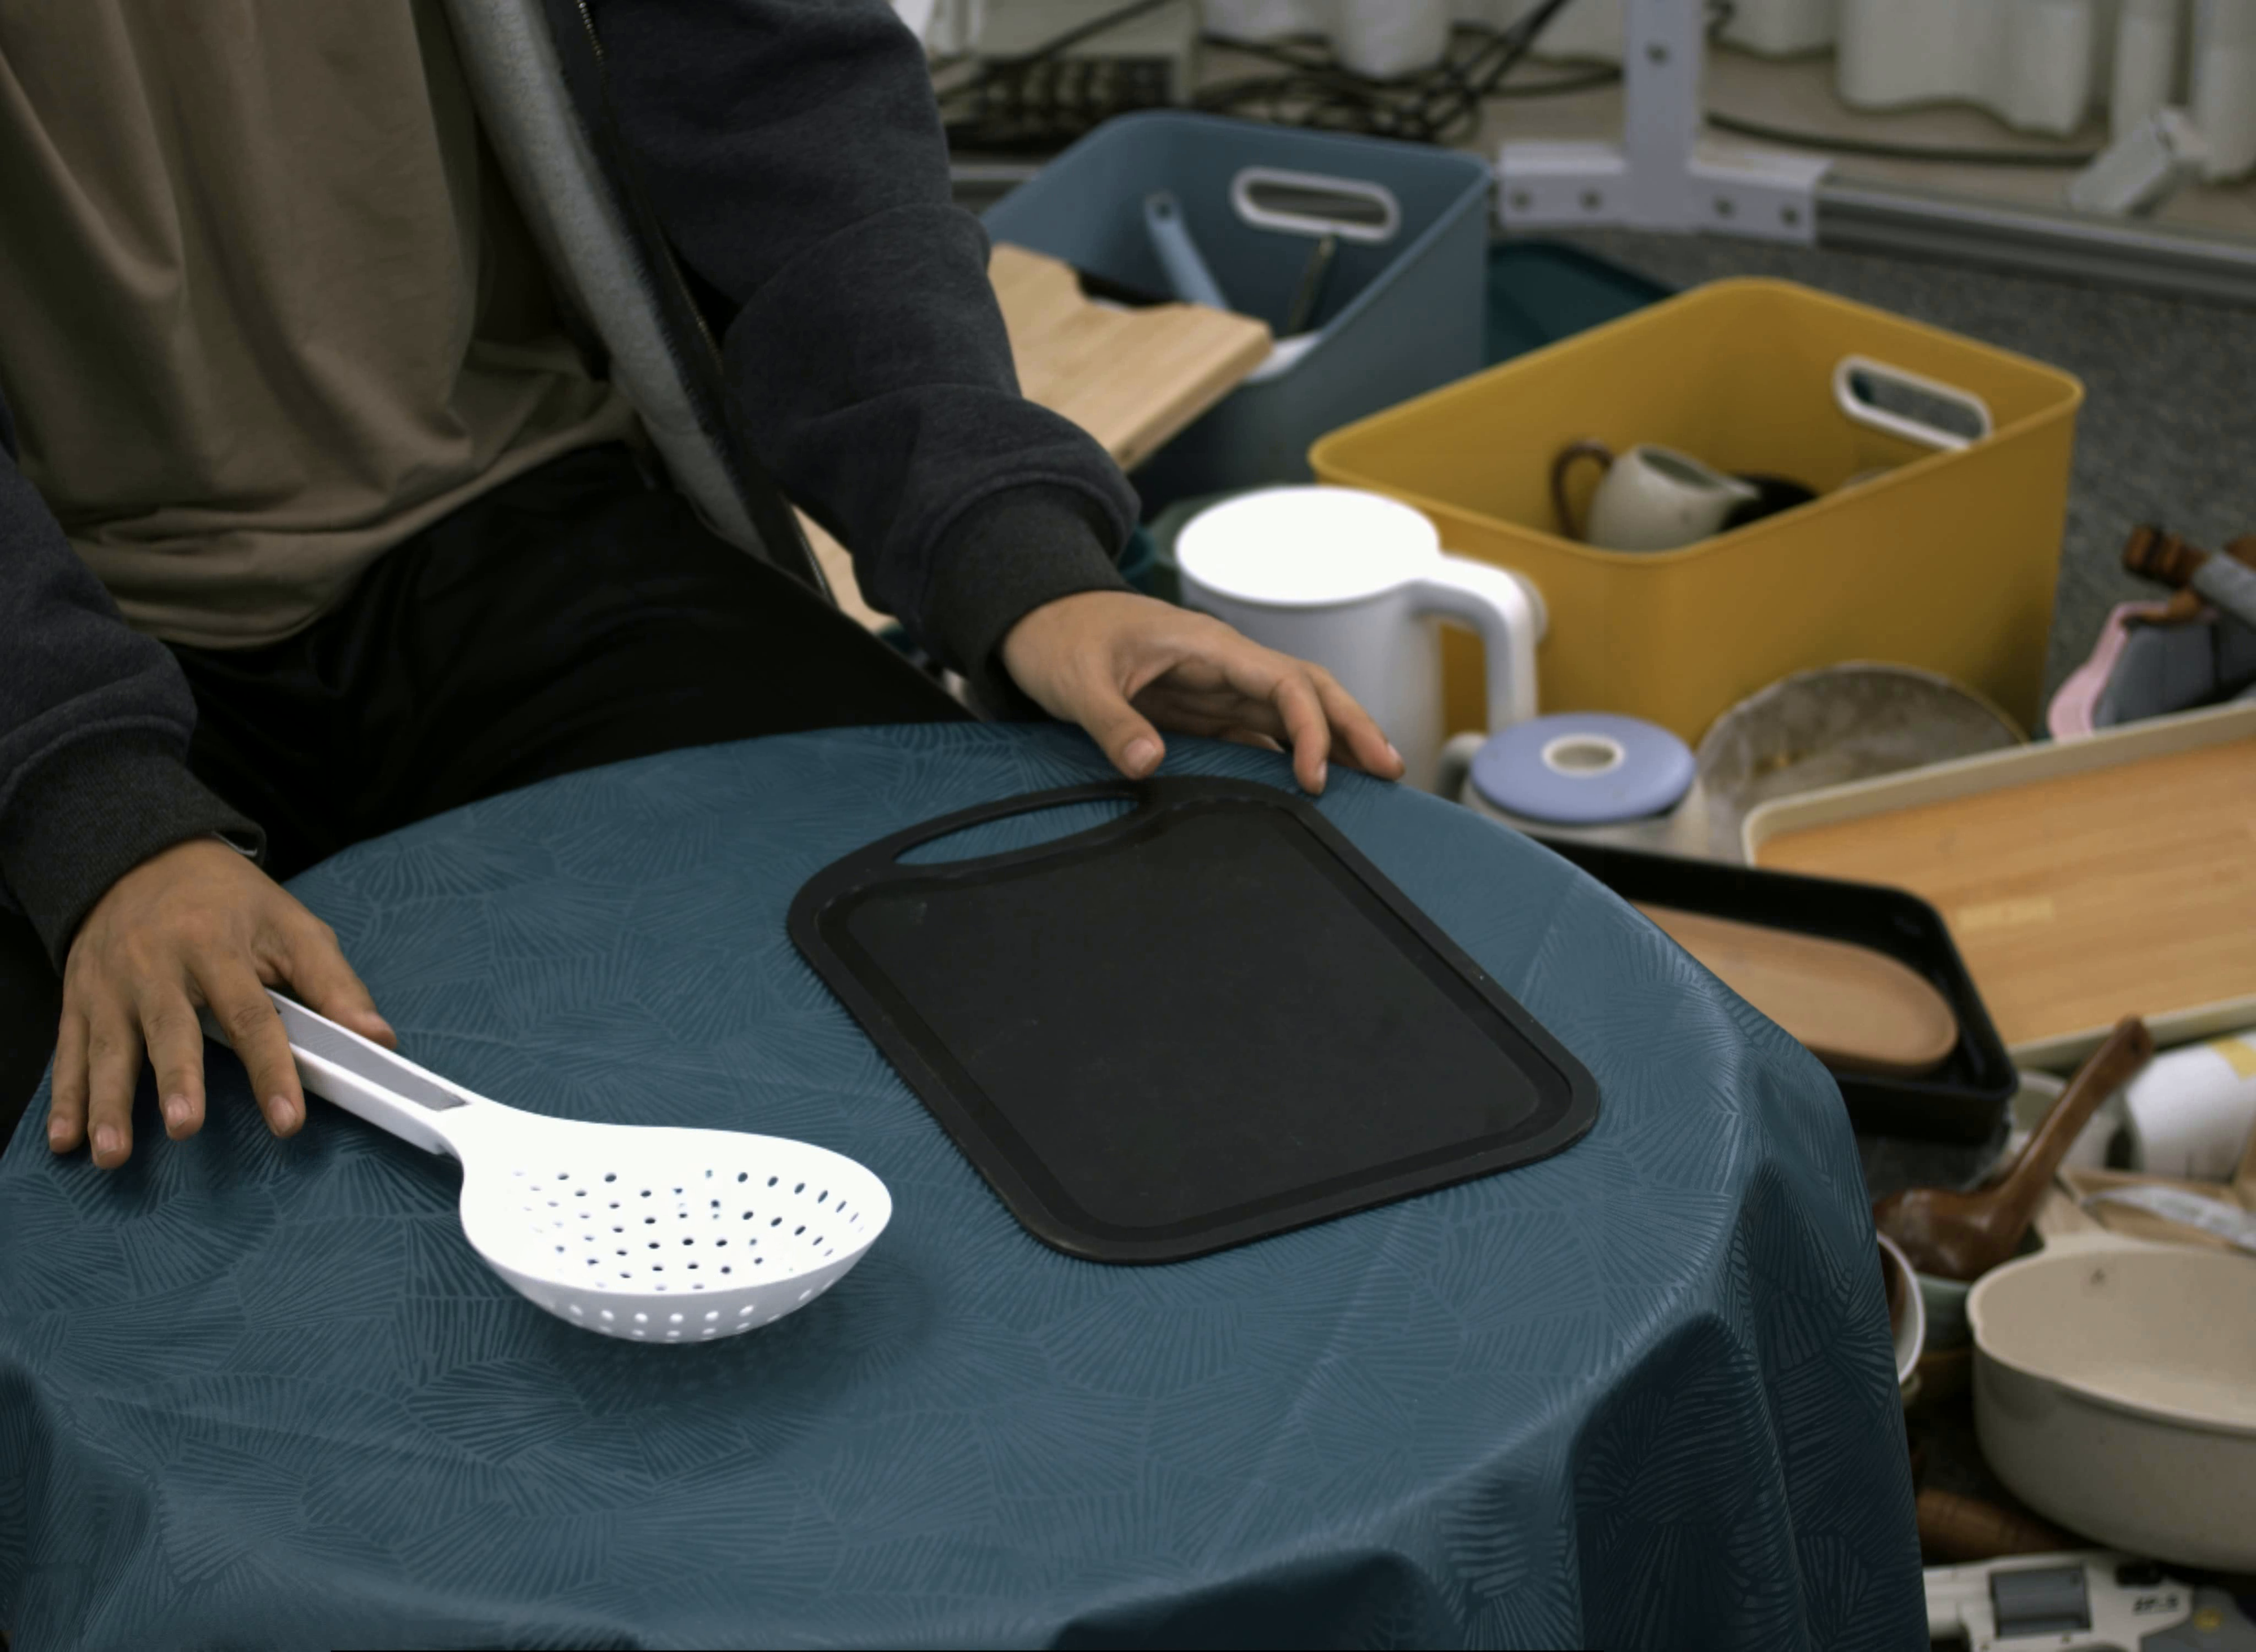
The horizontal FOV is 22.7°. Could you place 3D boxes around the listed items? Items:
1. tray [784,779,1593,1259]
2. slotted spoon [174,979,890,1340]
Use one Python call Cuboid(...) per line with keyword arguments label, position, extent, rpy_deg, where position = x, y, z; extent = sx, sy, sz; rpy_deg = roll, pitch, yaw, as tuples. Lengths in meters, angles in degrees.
Cuboid(label="tray", position=(0.011, 0.058, 1.976), extent=(0.212, 0.009, 0.328), rpy_deg=(-13, 29, -19))
Cuboid(label="slotted spoon", position=(-0.215, 0.104, 1.866), extent=(0.137, 0.045, 0.349), rpy_deg=(-12, 26, -40))
